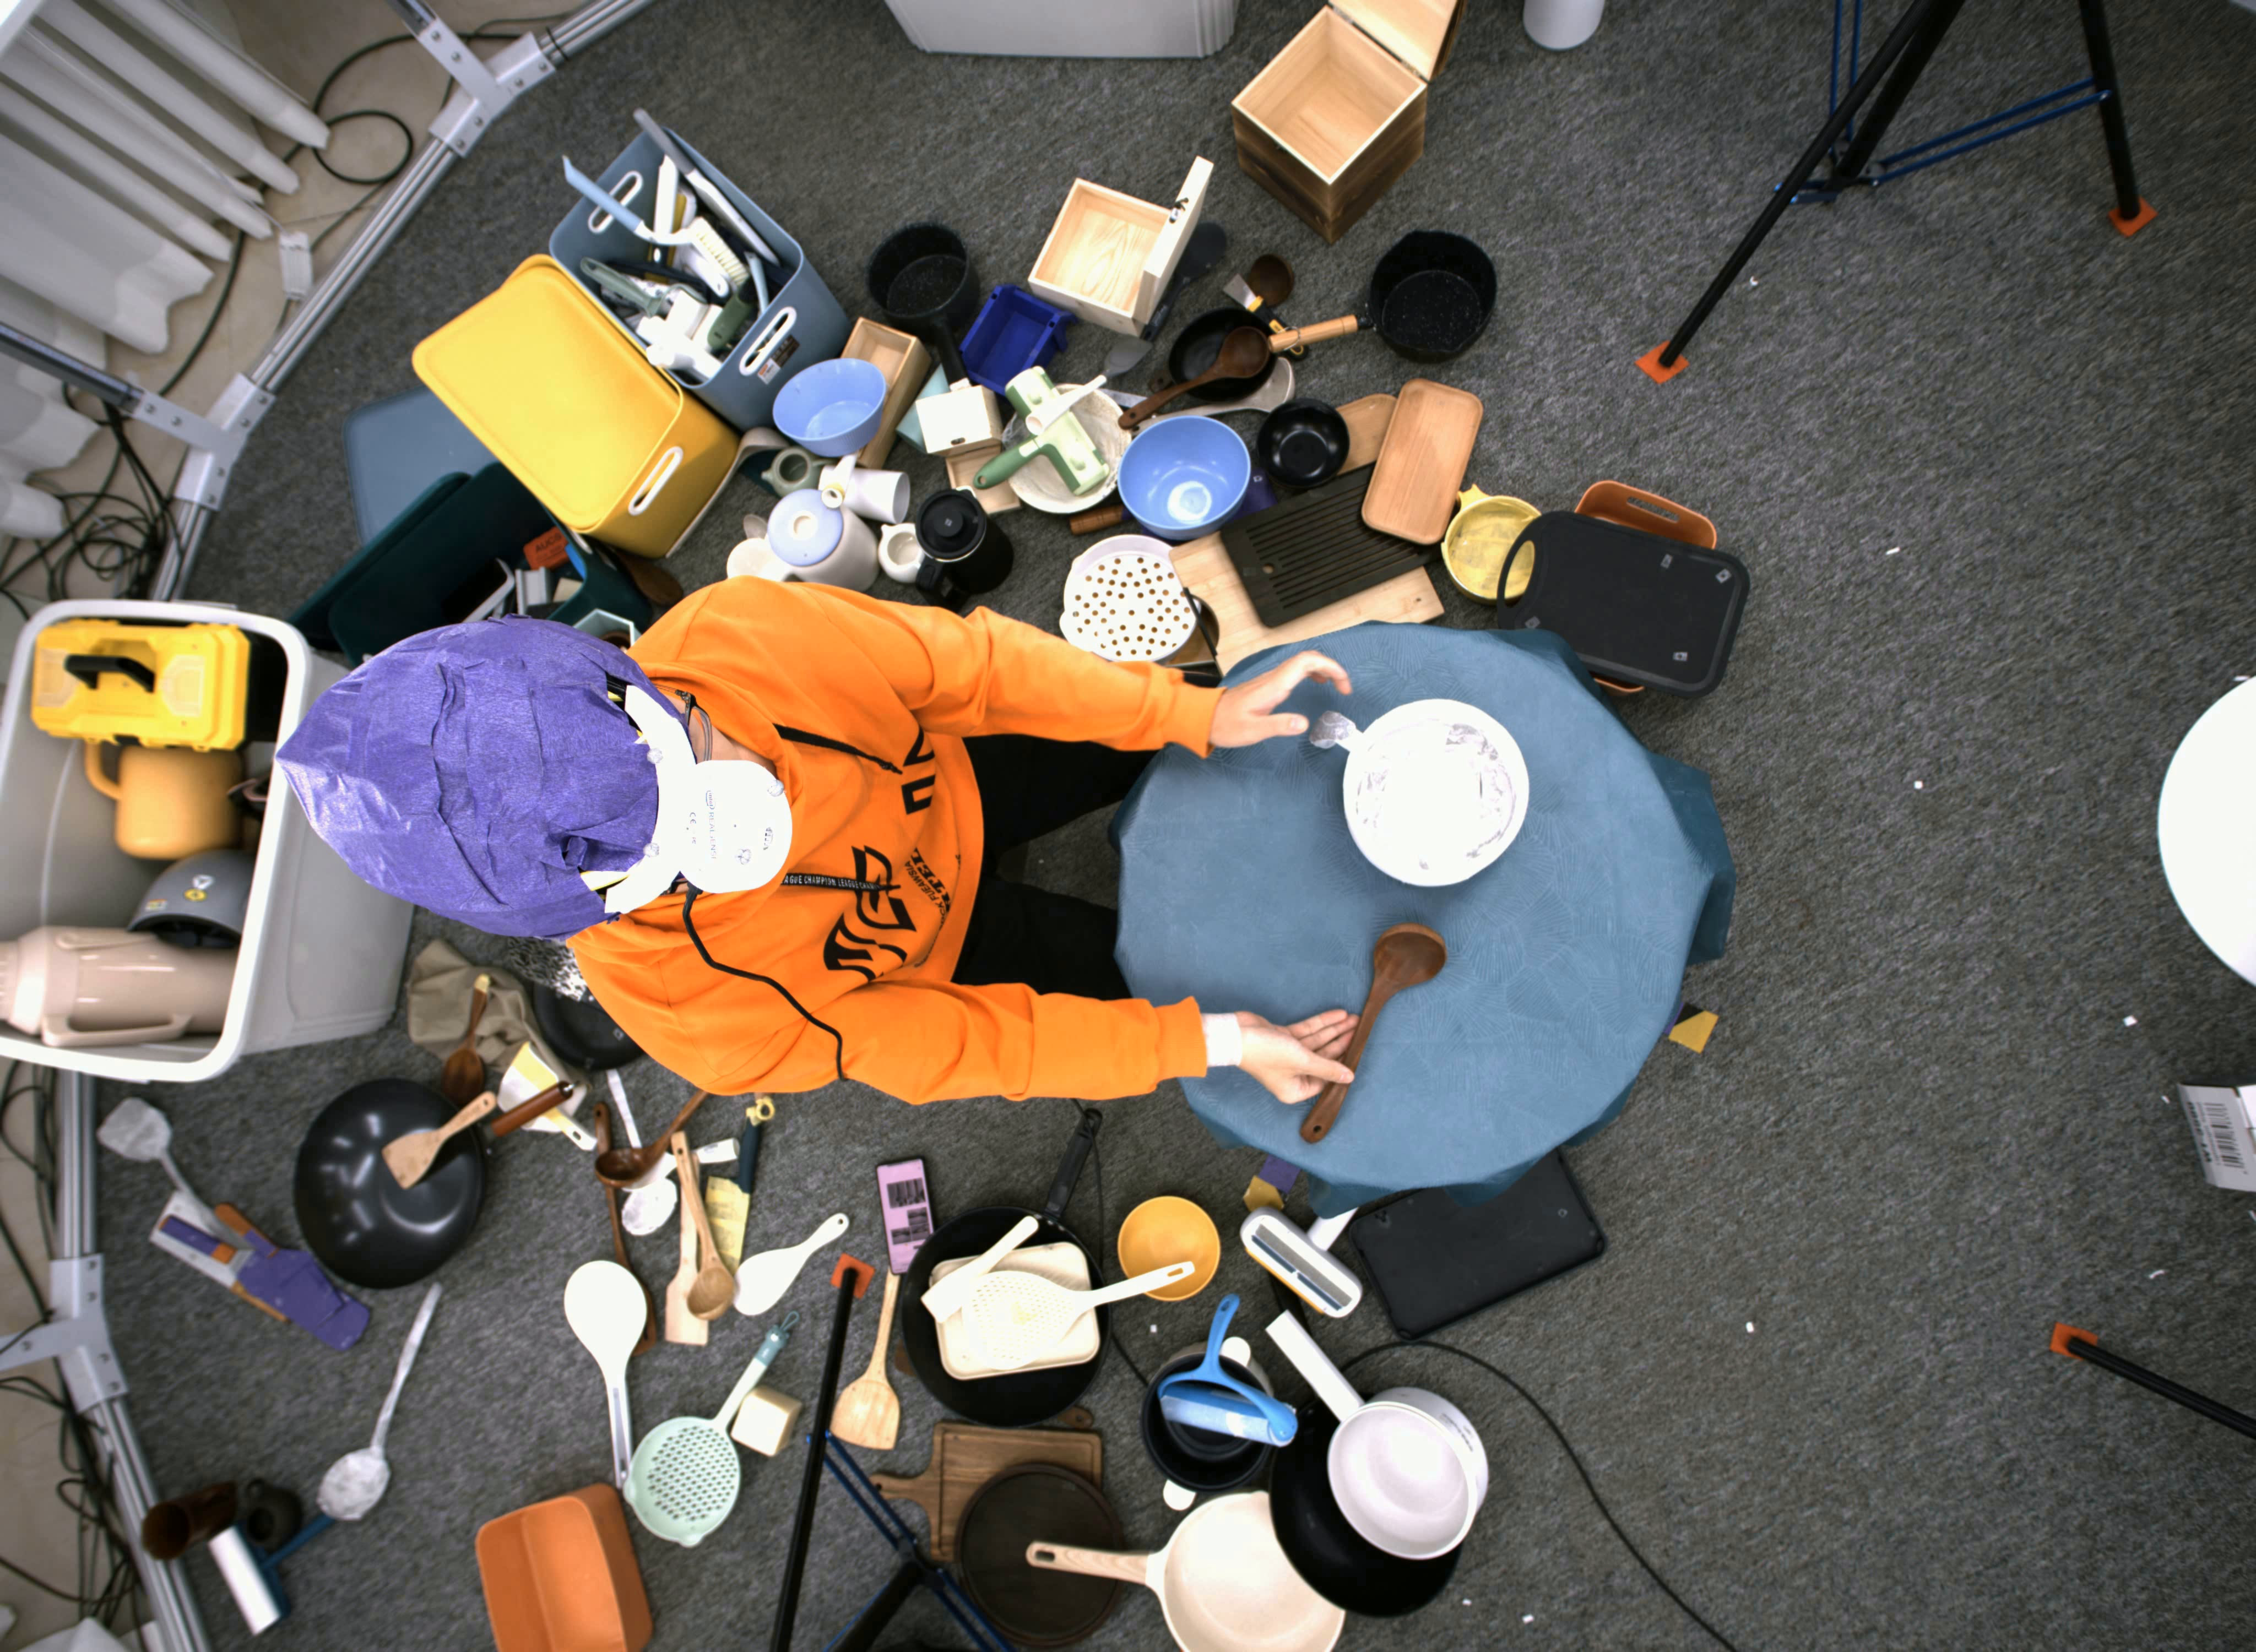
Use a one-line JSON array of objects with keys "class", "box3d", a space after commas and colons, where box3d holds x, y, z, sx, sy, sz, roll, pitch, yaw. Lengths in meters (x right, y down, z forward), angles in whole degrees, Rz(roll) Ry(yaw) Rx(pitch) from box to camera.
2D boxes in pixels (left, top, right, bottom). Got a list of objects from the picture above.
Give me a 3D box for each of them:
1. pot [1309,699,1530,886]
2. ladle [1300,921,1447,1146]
[{"class": "pot", "box3d": [0.284, -0.046, 1.394, 0.233, 0.137, 0.179, 34, 92, 10]}, {"class": "ladle", "box3d": [0.246, 0.216, 1.425, 0.076, 0.065, 0.260, 27, 91, -2]}]
